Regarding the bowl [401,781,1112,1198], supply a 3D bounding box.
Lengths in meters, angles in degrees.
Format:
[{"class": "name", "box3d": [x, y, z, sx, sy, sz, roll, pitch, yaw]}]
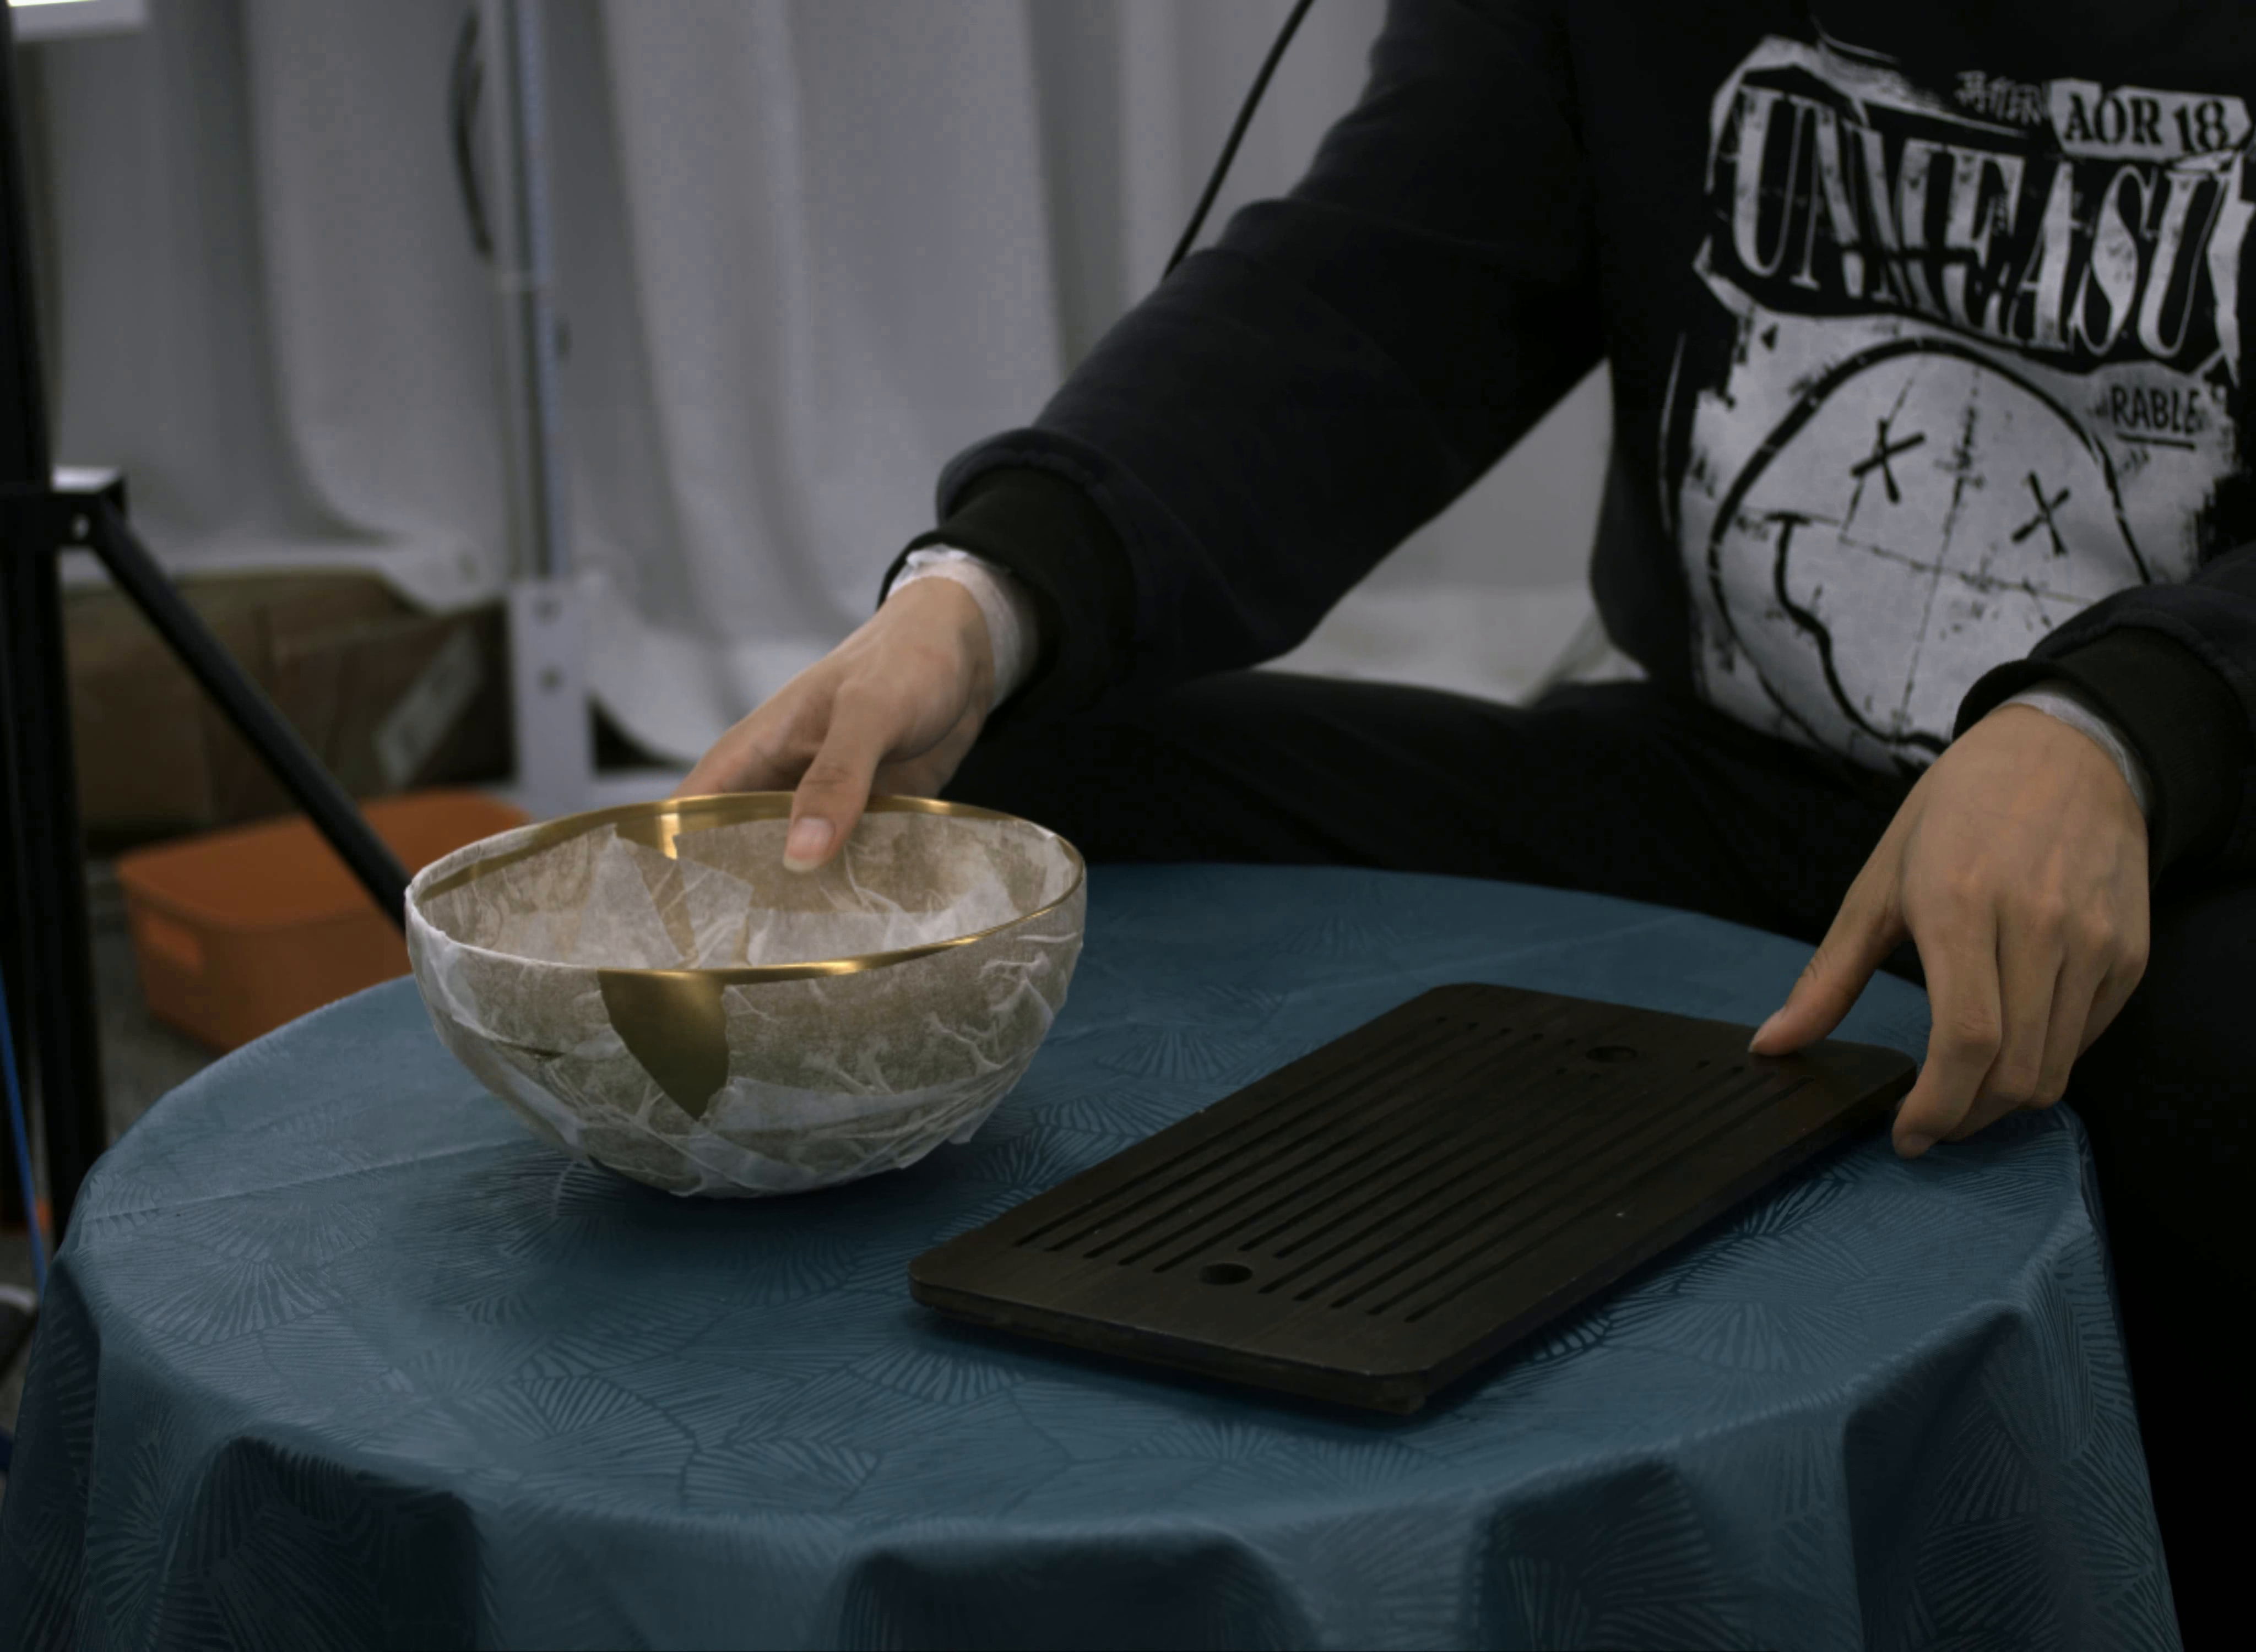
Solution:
[{"class": "bowl", "box3d": [-0.107, 0.057, 1.586, 0.213, 0.094, 0.216, -3, 14, -1]}]

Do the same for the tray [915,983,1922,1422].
[{"class": "tray", "box3d": [0.090, 0.105, 1.523, 0.173, 0.018, 0.300, 8, 19, 34]}]
